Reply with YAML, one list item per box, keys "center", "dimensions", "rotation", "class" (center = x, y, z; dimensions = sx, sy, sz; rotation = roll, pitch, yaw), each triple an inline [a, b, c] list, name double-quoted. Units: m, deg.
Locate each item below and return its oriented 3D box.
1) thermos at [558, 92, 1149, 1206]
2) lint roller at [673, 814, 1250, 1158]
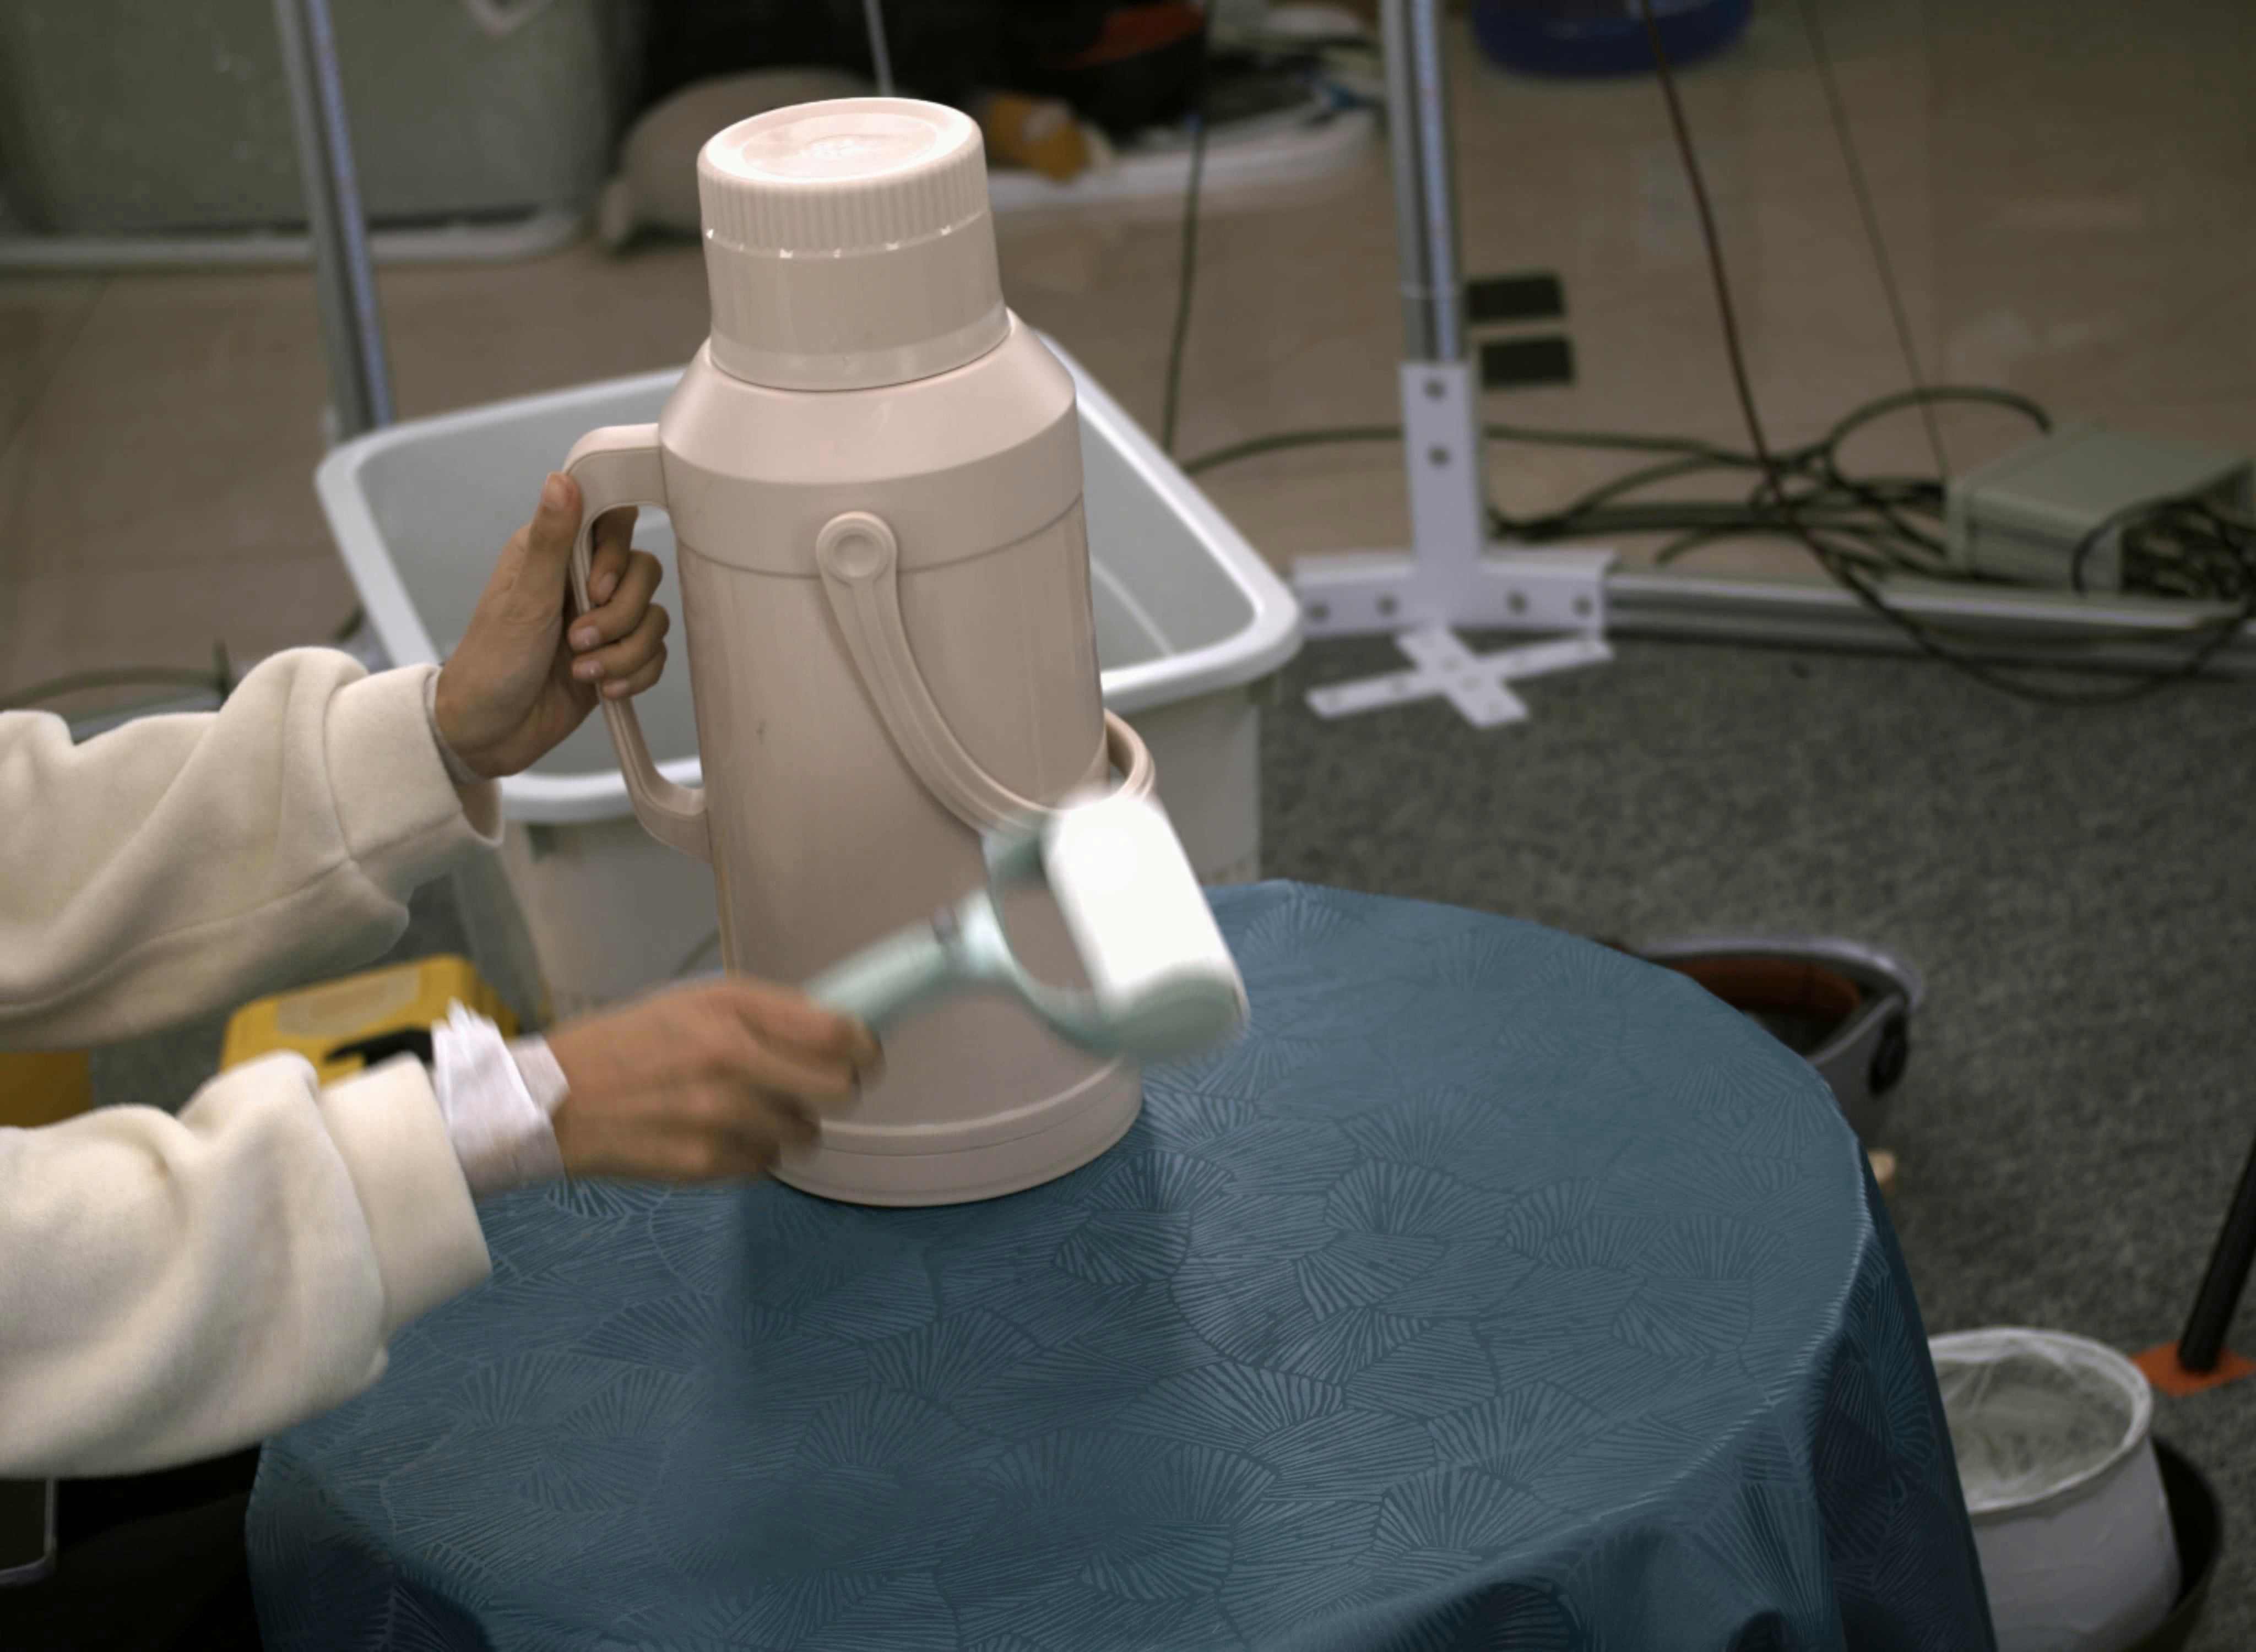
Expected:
- center: [-0.102, -0.067, 2.135]
  dimensions: [0.207, 0.413, 0.172]
  rotation: [-4, 26, 4]
  class: "thermos"
- center: [-0.065, 0.064, 1.950]
  dimensions: [0.197, 0.049, 0.114]
  rotation: [-16, 42, -5]
  class: "lint roller"
